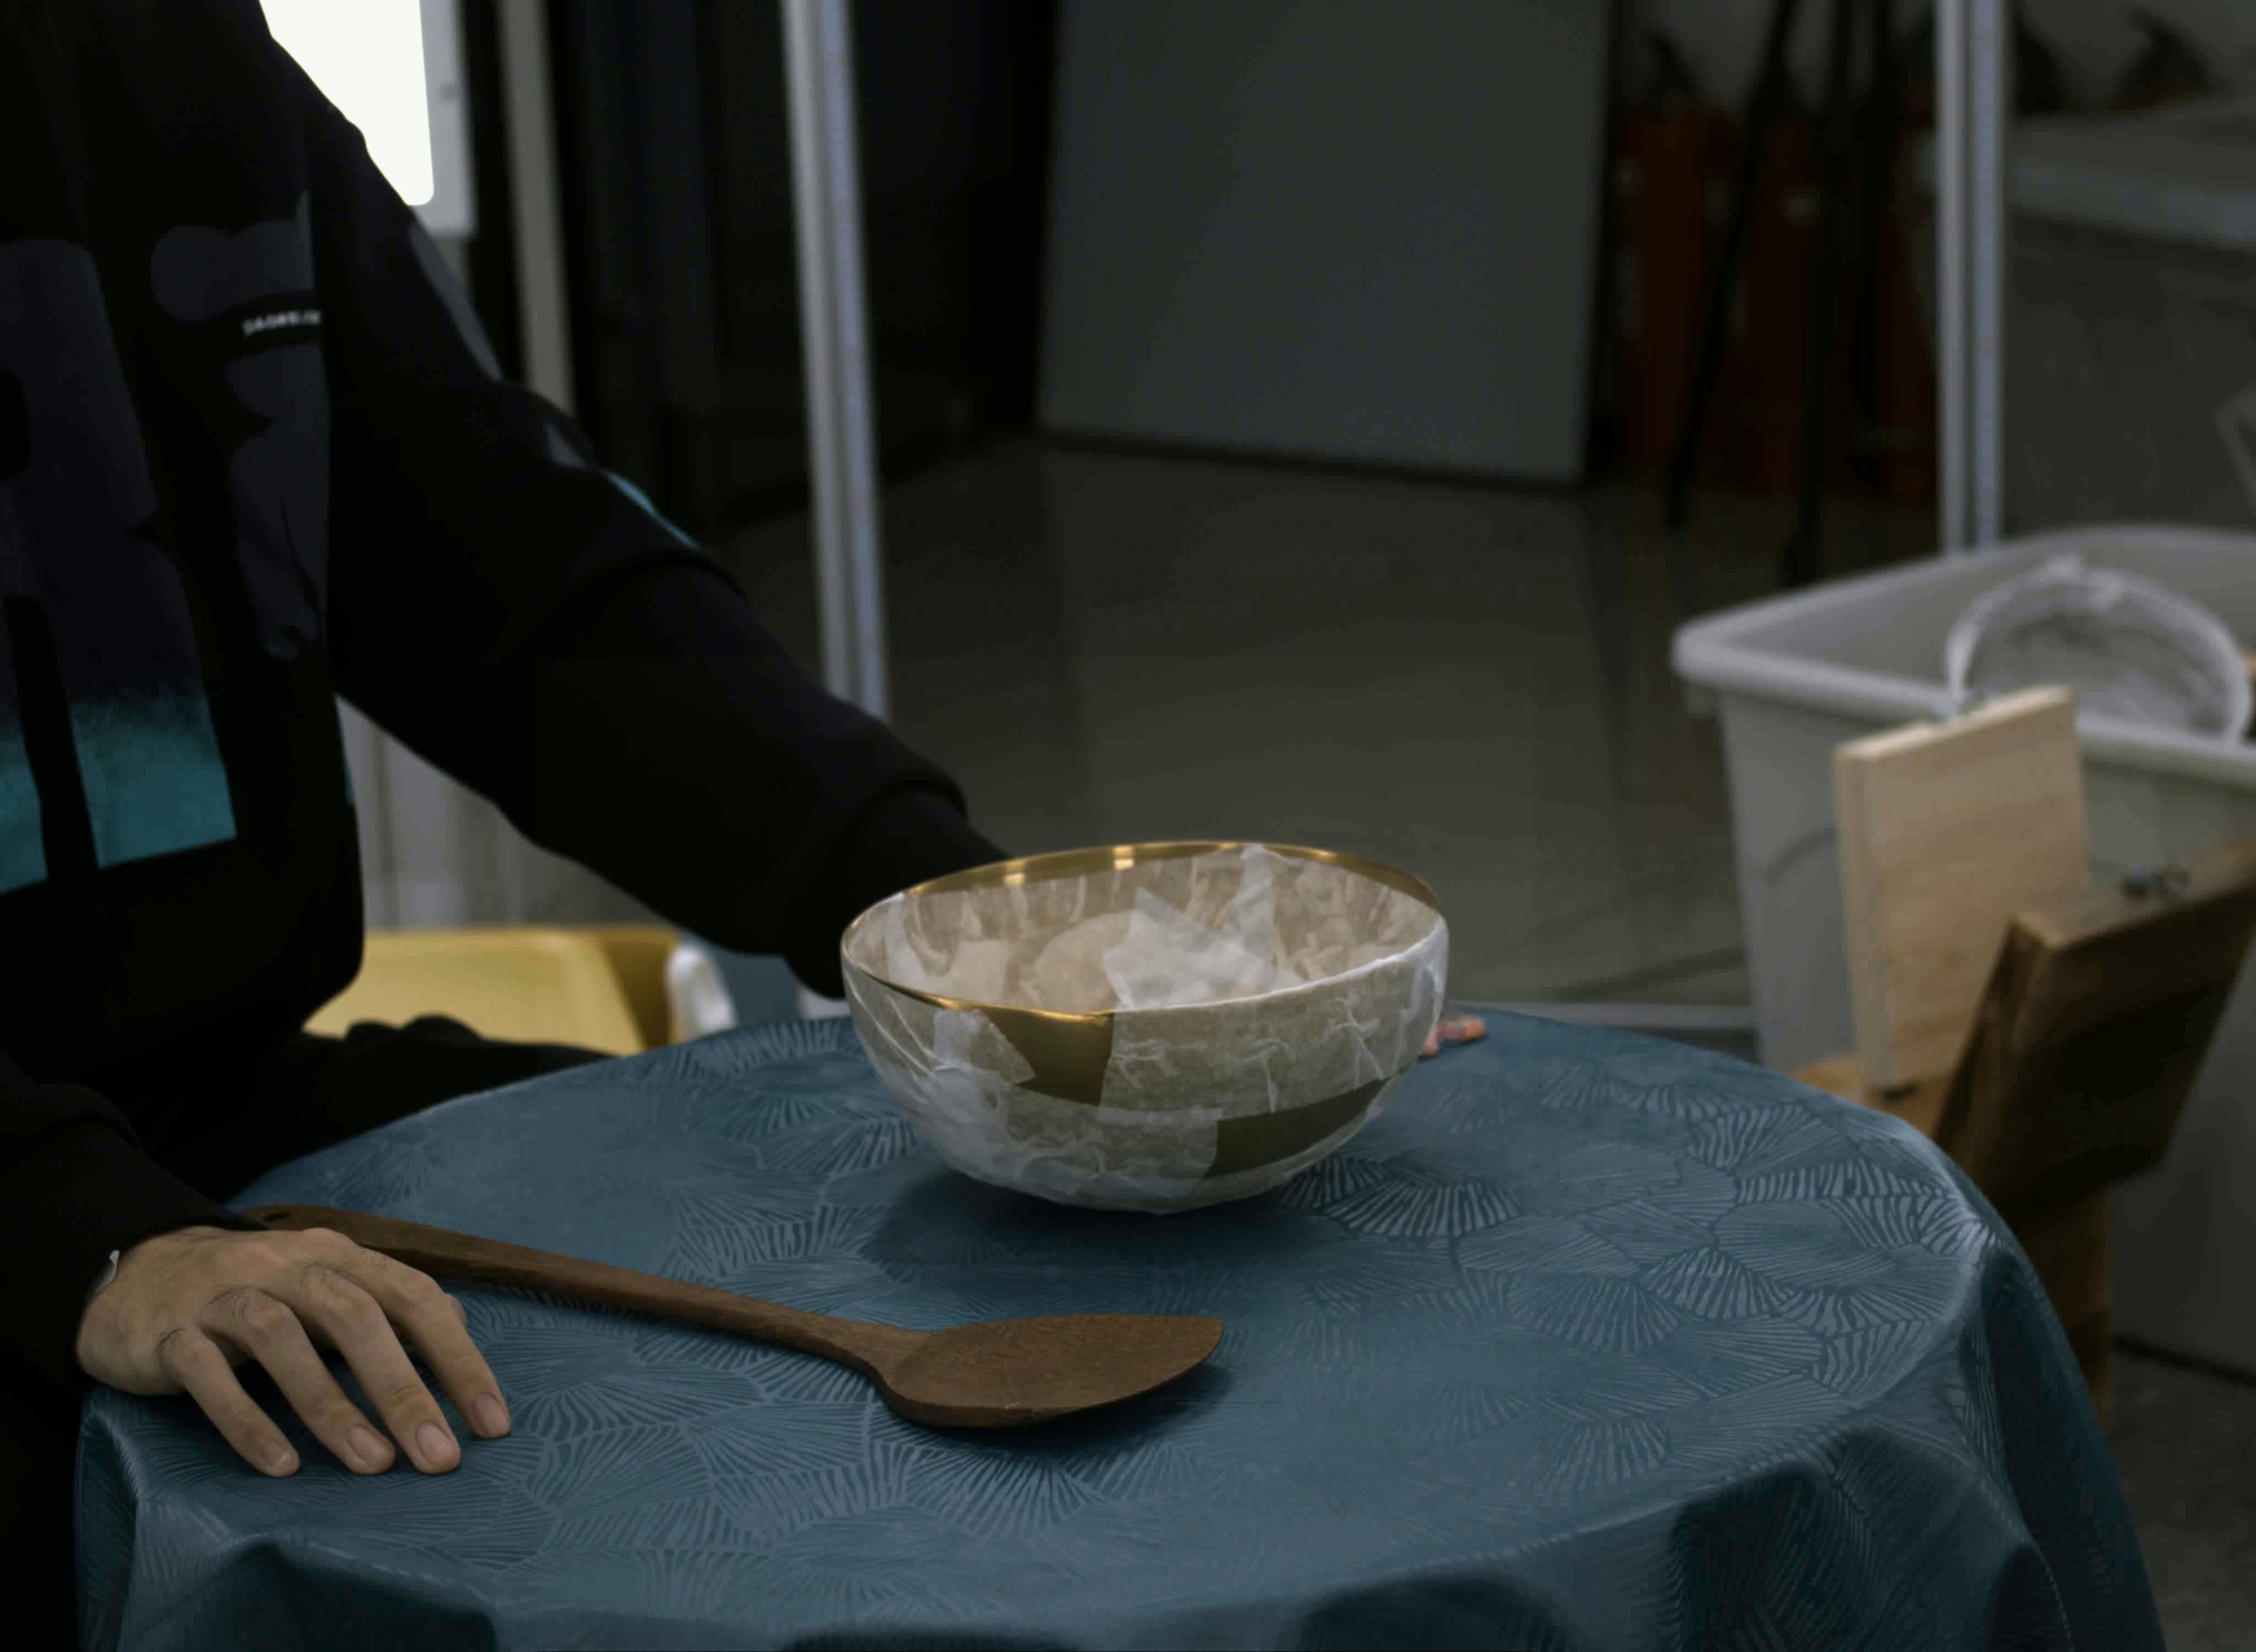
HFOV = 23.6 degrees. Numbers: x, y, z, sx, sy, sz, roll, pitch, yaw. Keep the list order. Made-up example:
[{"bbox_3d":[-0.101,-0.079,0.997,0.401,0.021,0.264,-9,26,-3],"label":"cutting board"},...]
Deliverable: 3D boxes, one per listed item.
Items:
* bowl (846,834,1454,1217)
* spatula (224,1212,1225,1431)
[{"bbox_3d":[0.008,0.072,1.771,0.212,0.095,0.215,-6,14,1],"label":"bowl"},{"bbox_3d":[-0.141,0.149,1.674,0.388,0.016,0.094,6,16,37],"label":"spatula"}]
